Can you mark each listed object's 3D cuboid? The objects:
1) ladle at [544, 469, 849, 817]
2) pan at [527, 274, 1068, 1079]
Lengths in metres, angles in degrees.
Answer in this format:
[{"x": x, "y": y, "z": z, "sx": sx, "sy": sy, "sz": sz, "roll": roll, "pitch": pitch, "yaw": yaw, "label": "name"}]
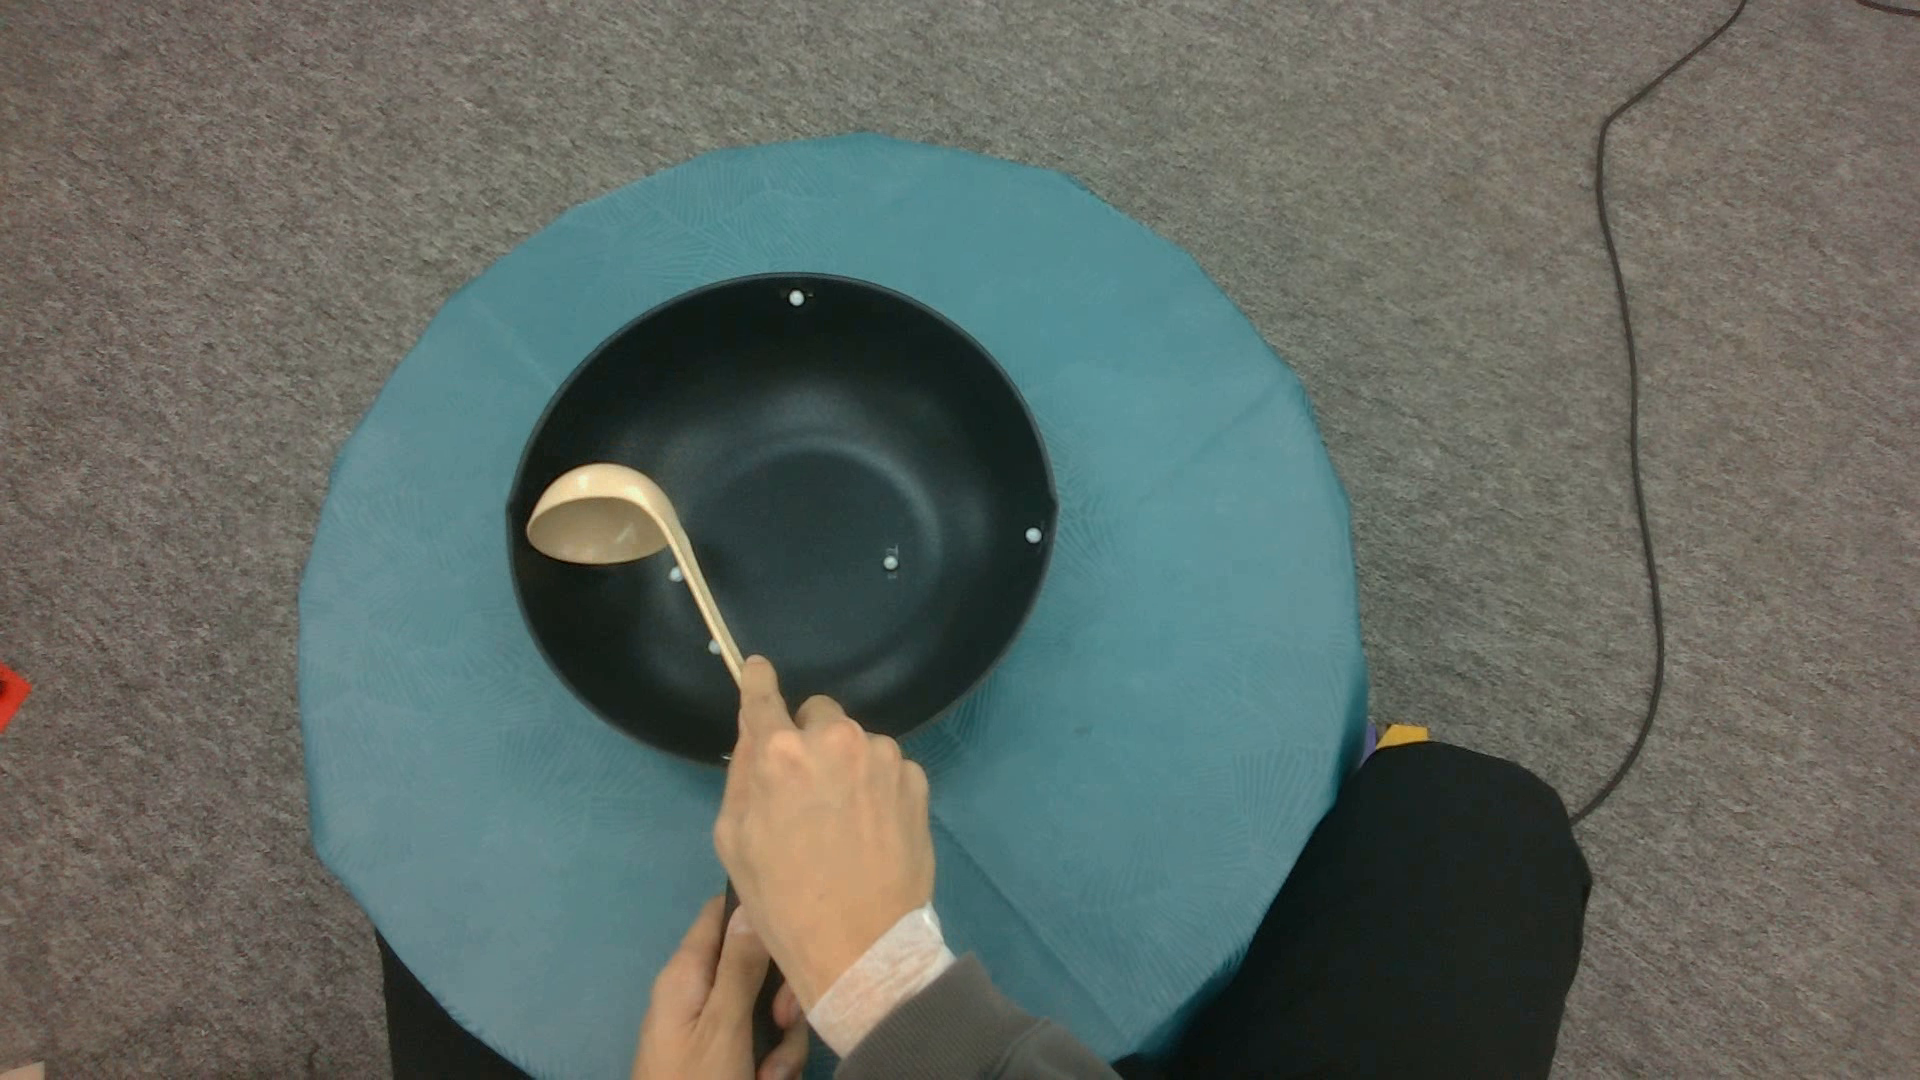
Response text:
[{"x": -0.136, "y": 0.059, "z": 0.675, "sx": 0.073, "sy": 0.072, "sz": 0.255, "roll": -39, "pitch": 52, "yaw": 3, "label": "ladle"}, {"x": -0.088, "y": 0.083, "z": 0.731, "sx": 0.288, "sy": 0.086, "sz": 0.464, "roll": 1, "pitch": 71, "yaw": 2, "label": "pan"}]
